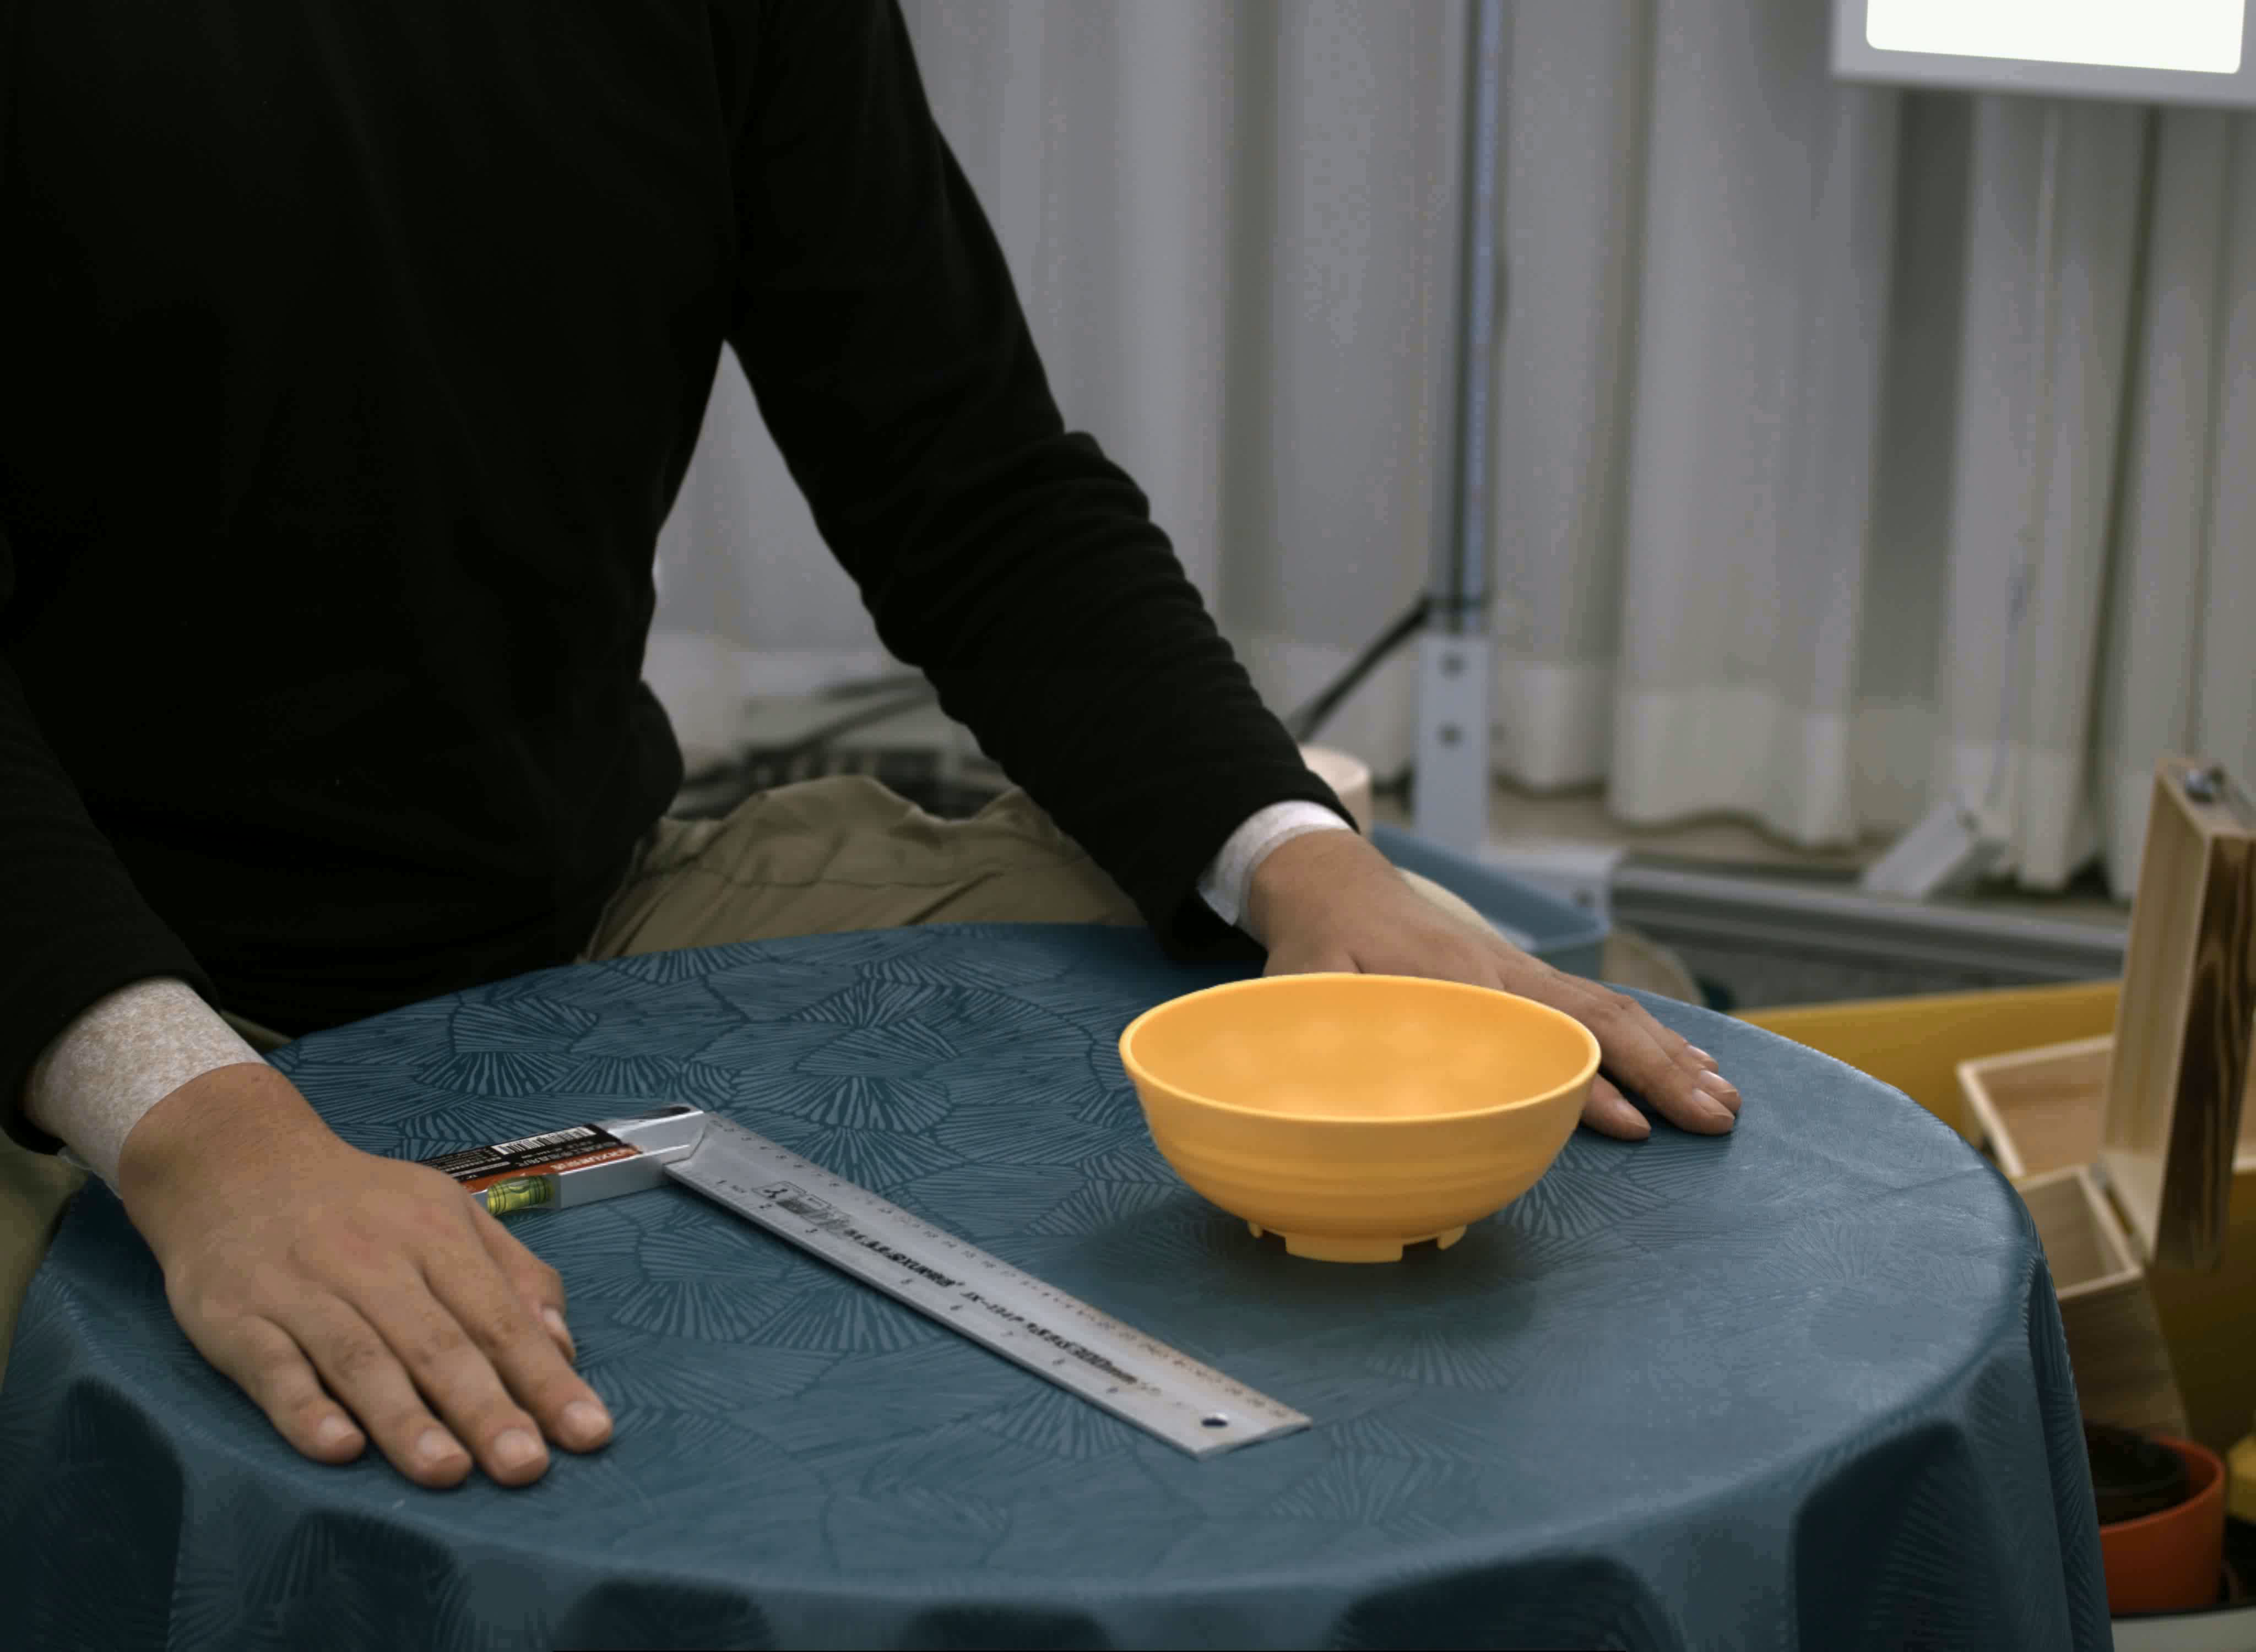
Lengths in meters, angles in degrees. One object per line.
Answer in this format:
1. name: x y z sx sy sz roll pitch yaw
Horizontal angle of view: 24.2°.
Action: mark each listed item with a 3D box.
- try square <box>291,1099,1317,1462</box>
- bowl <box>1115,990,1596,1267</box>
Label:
1. try square: -0.100 0.141 1.511 0.153 0.016 0.308 -15 23 -34
2. bowl: 0.068 0.095 1.583 0.145 0.060 0.144 1 13 0
